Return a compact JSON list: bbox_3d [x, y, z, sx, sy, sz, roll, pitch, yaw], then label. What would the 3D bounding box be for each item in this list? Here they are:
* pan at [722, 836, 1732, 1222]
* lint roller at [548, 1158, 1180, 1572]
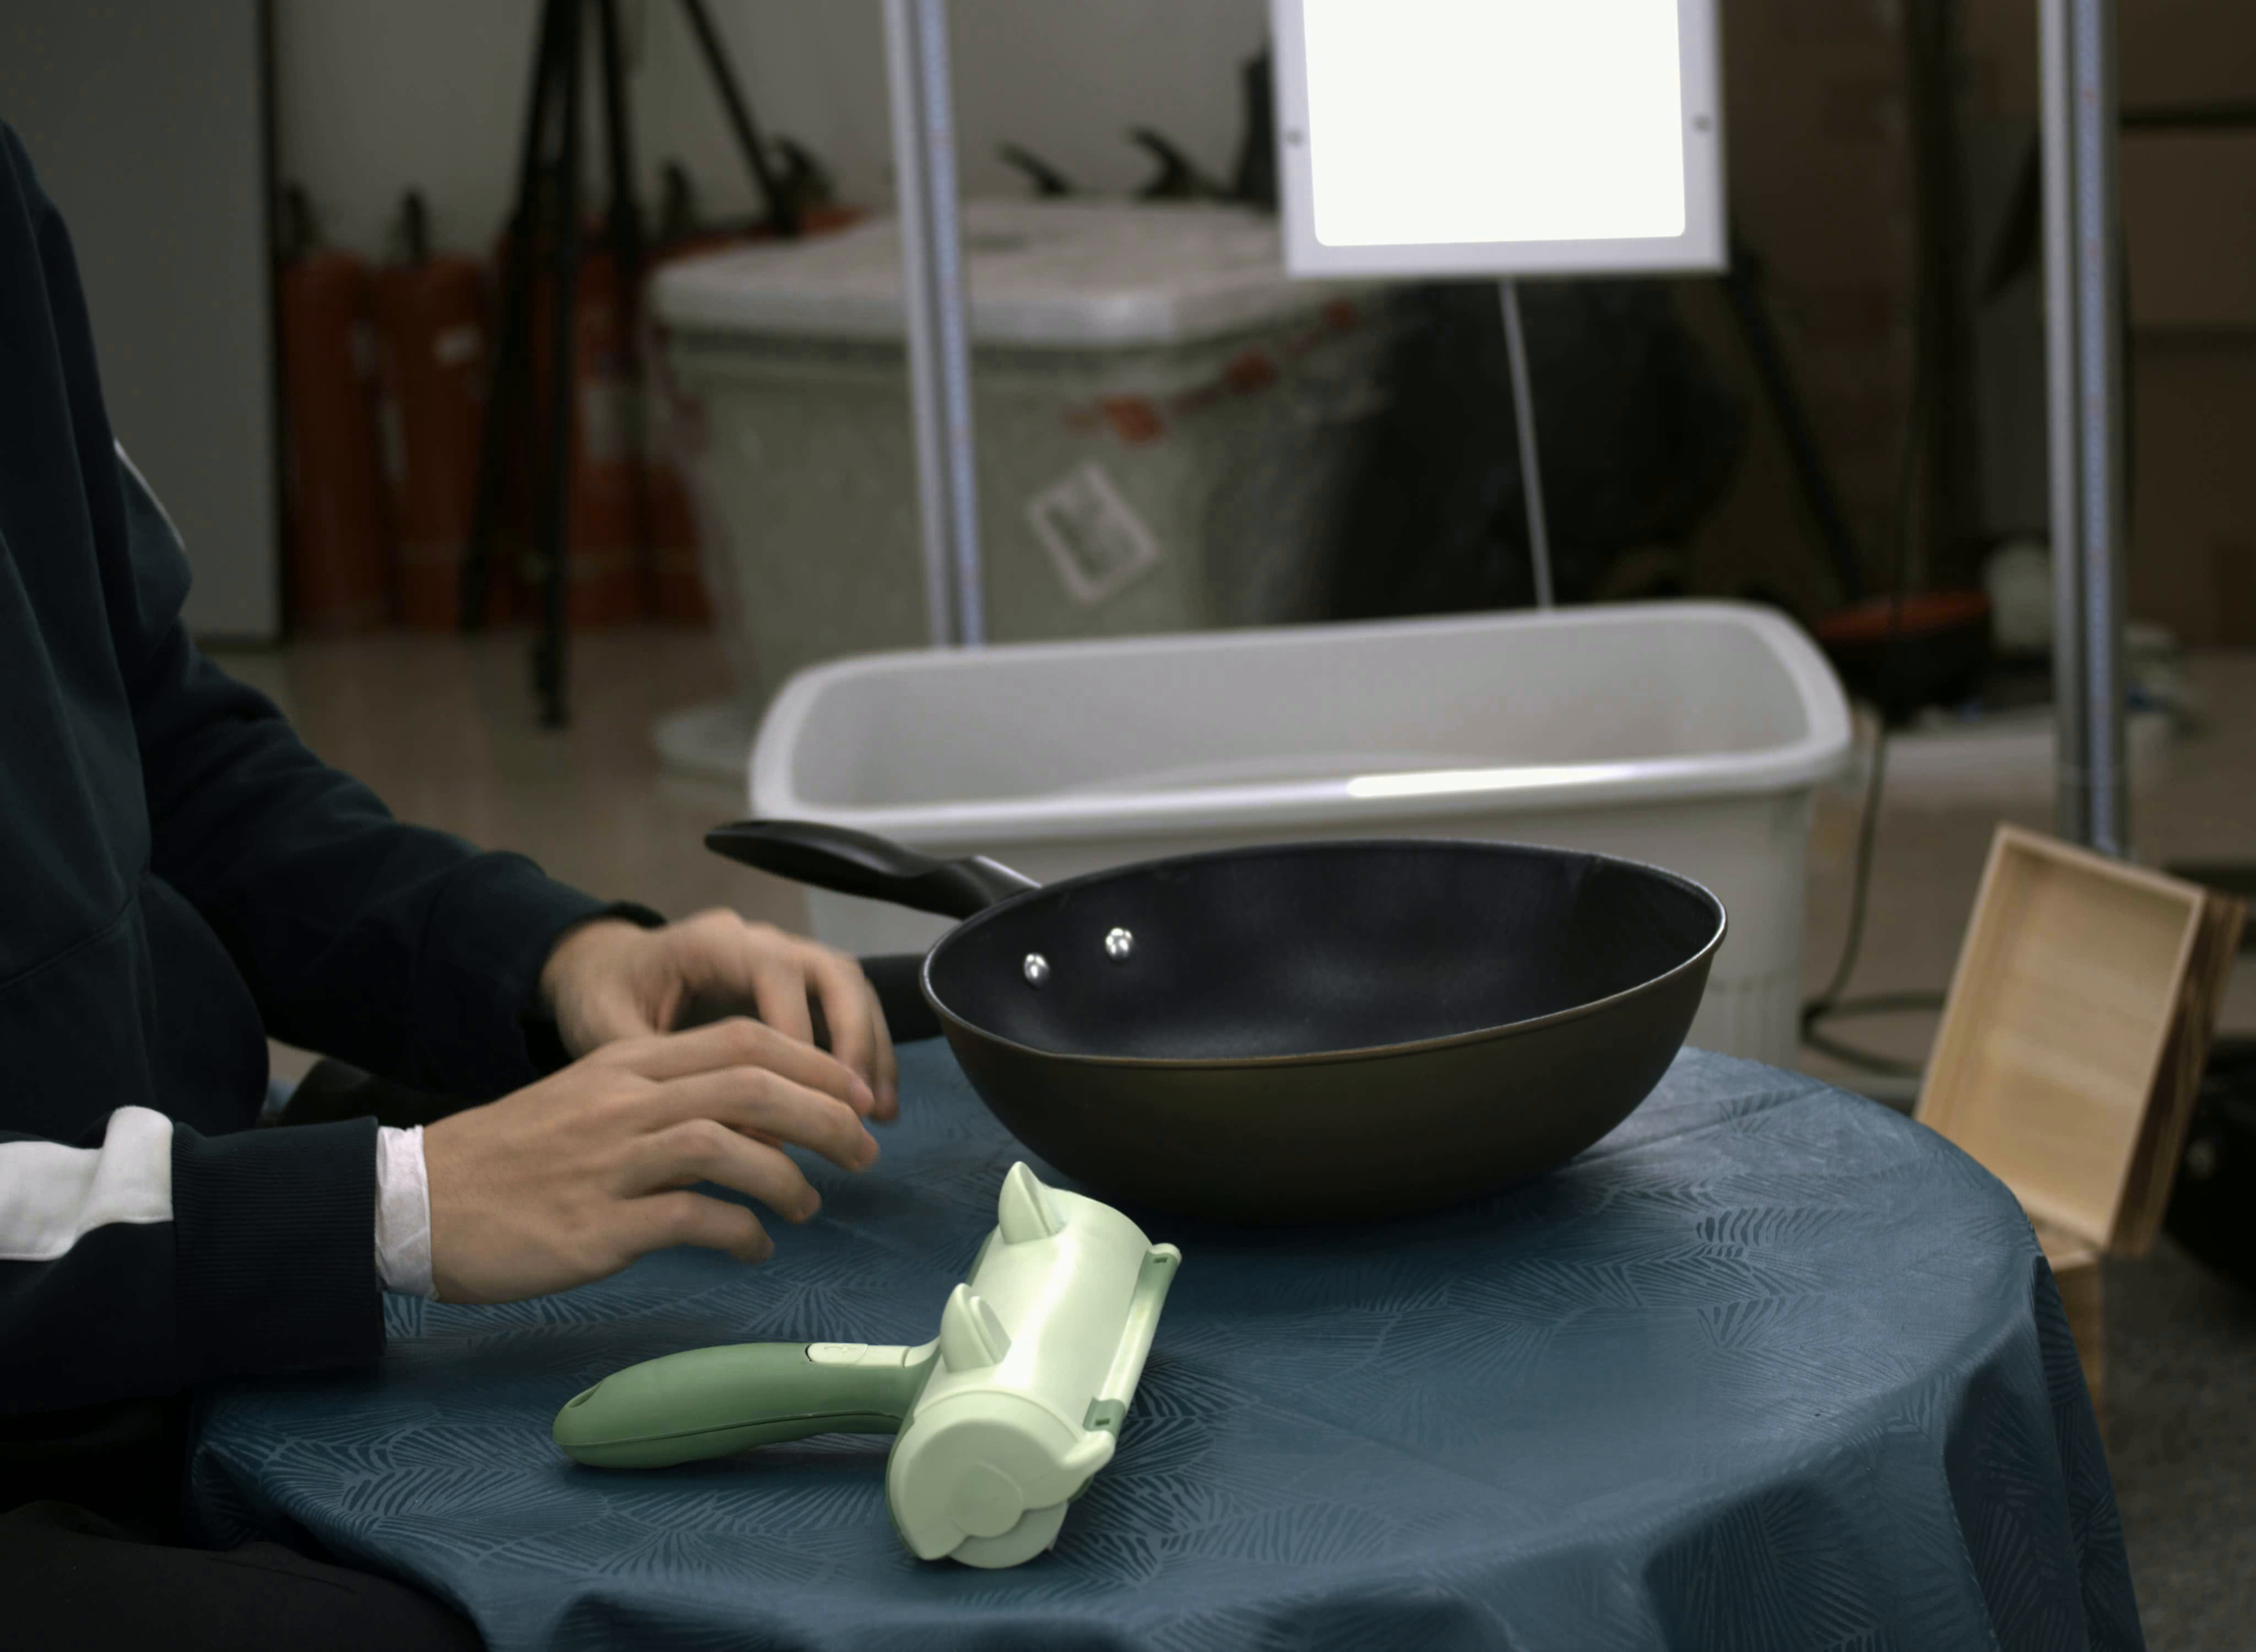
[{"bbox_3d":[0.007,0.066,1.964,0.281,0.087,0.473,-16,16,-41],"label":"pan"},{"bbox_3d":[-0.085,0.155,1.654,0.184,0.082,0.197,2,15,8],"label":"lint roller"}]
